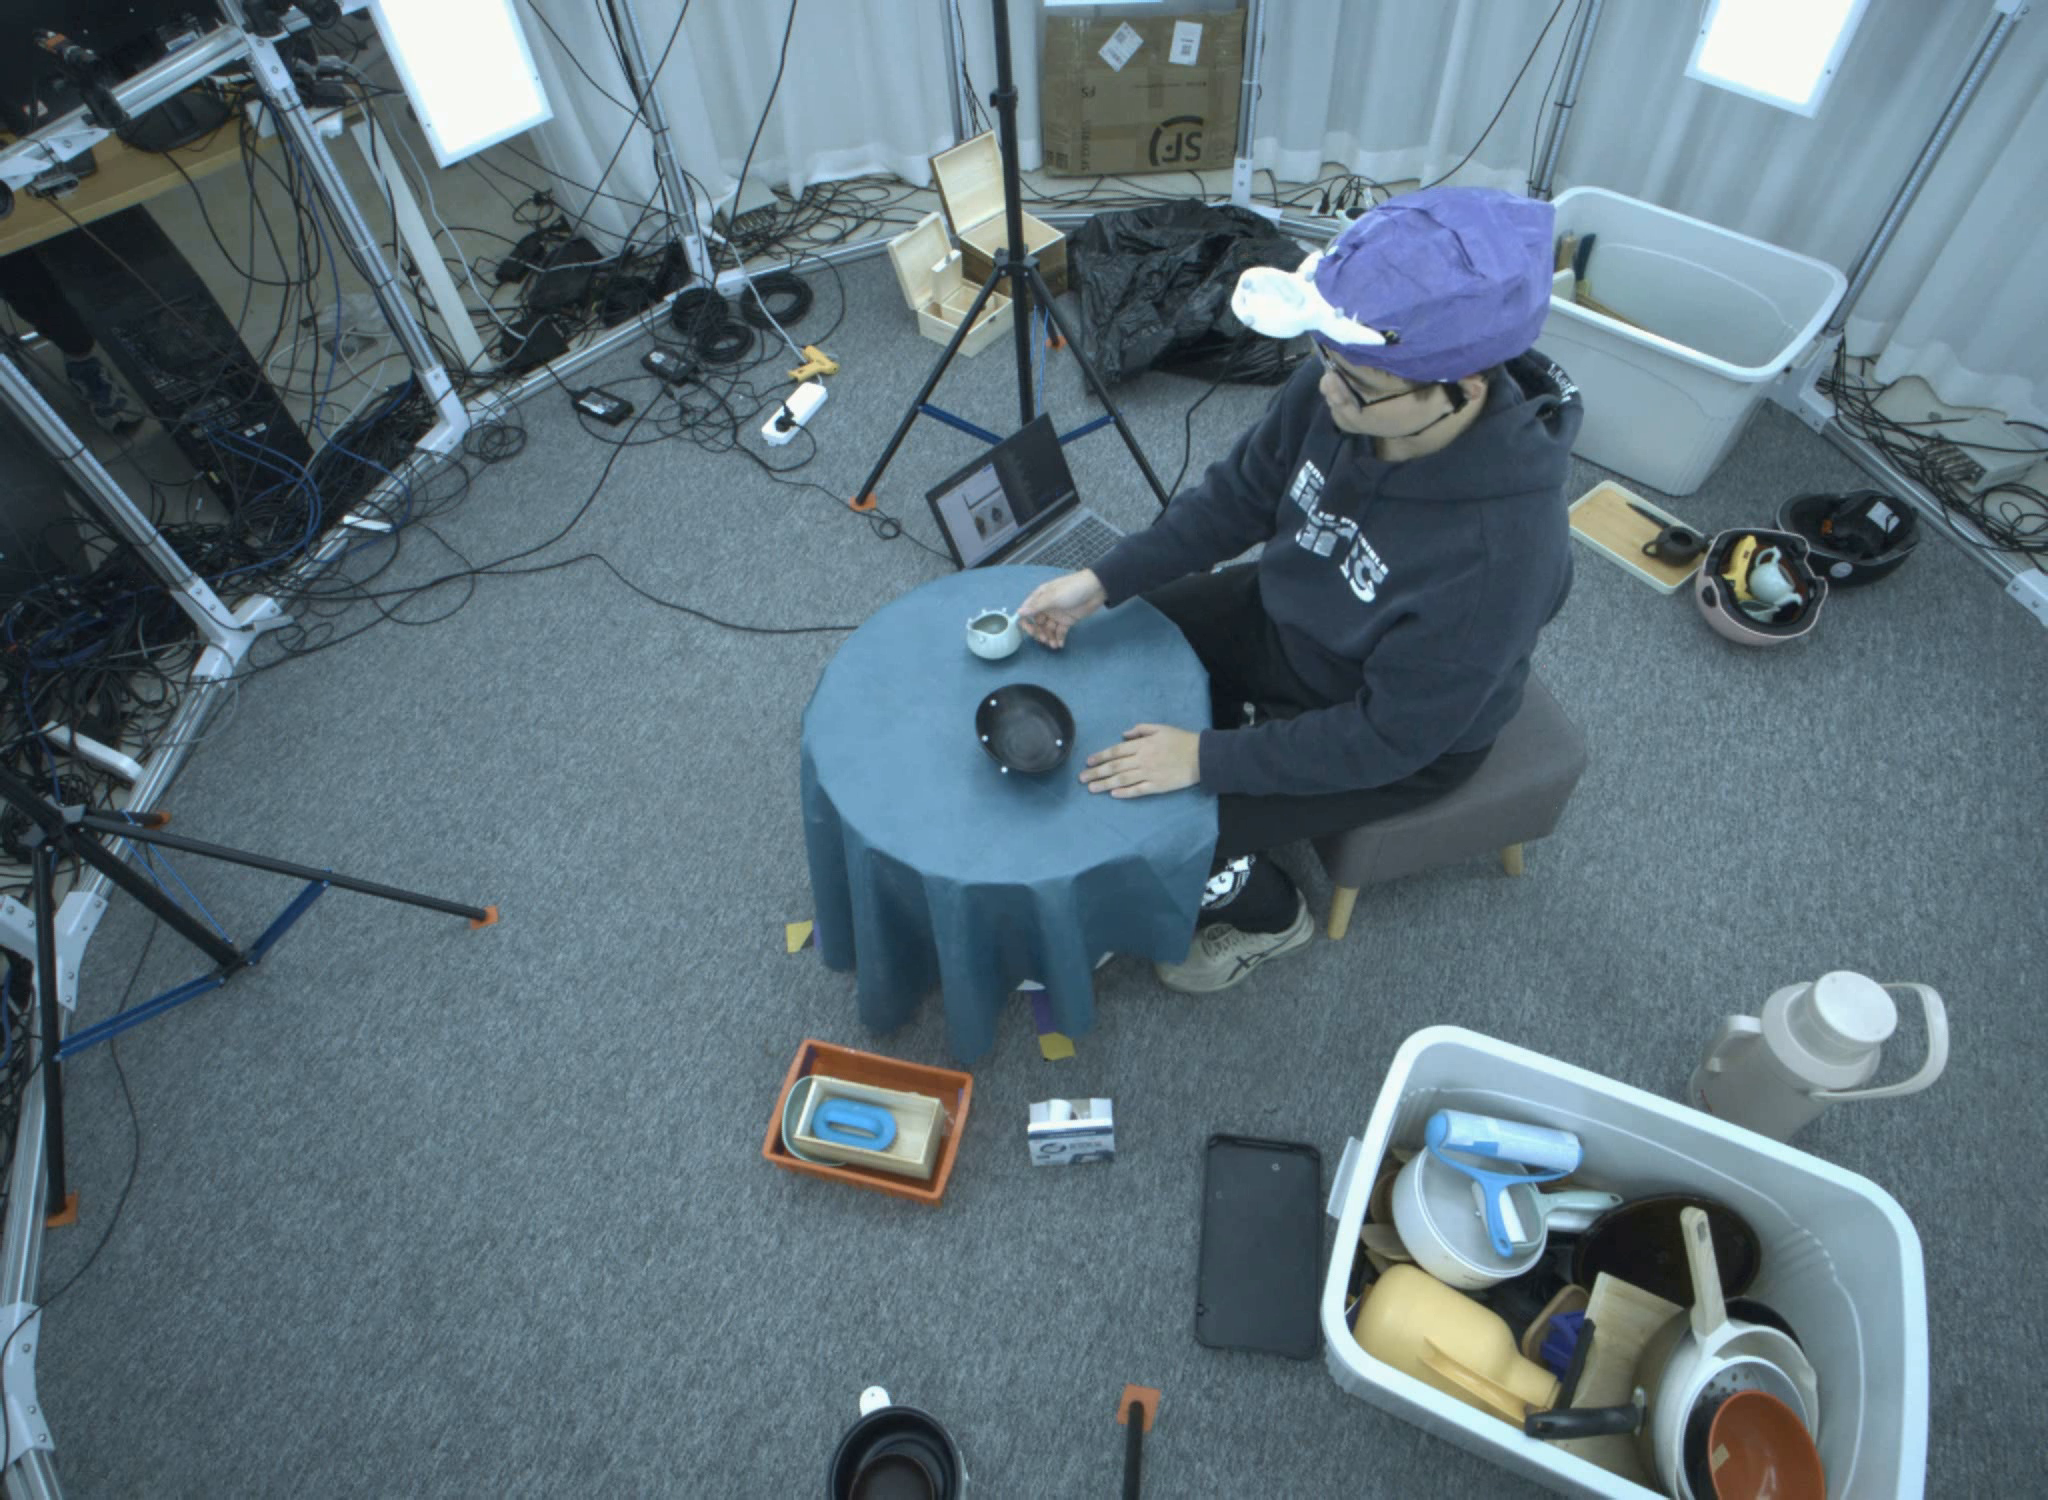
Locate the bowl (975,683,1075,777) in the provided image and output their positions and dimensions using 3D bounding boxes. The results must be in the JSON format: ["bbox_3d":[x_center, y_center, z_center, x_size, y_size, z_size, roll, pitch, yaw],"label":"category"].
[{"bbox_3d":[0.000,-0.020,1.764,0.138,0.067,0.167,-21,56,-13],"label":"bowl"}]

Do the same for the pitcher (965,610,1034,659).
[{"bbox_3d":[-0.038,-0.183,1.884,0.109,0.061,0.084,-14,57,-10],"label":"pitcher"}]
